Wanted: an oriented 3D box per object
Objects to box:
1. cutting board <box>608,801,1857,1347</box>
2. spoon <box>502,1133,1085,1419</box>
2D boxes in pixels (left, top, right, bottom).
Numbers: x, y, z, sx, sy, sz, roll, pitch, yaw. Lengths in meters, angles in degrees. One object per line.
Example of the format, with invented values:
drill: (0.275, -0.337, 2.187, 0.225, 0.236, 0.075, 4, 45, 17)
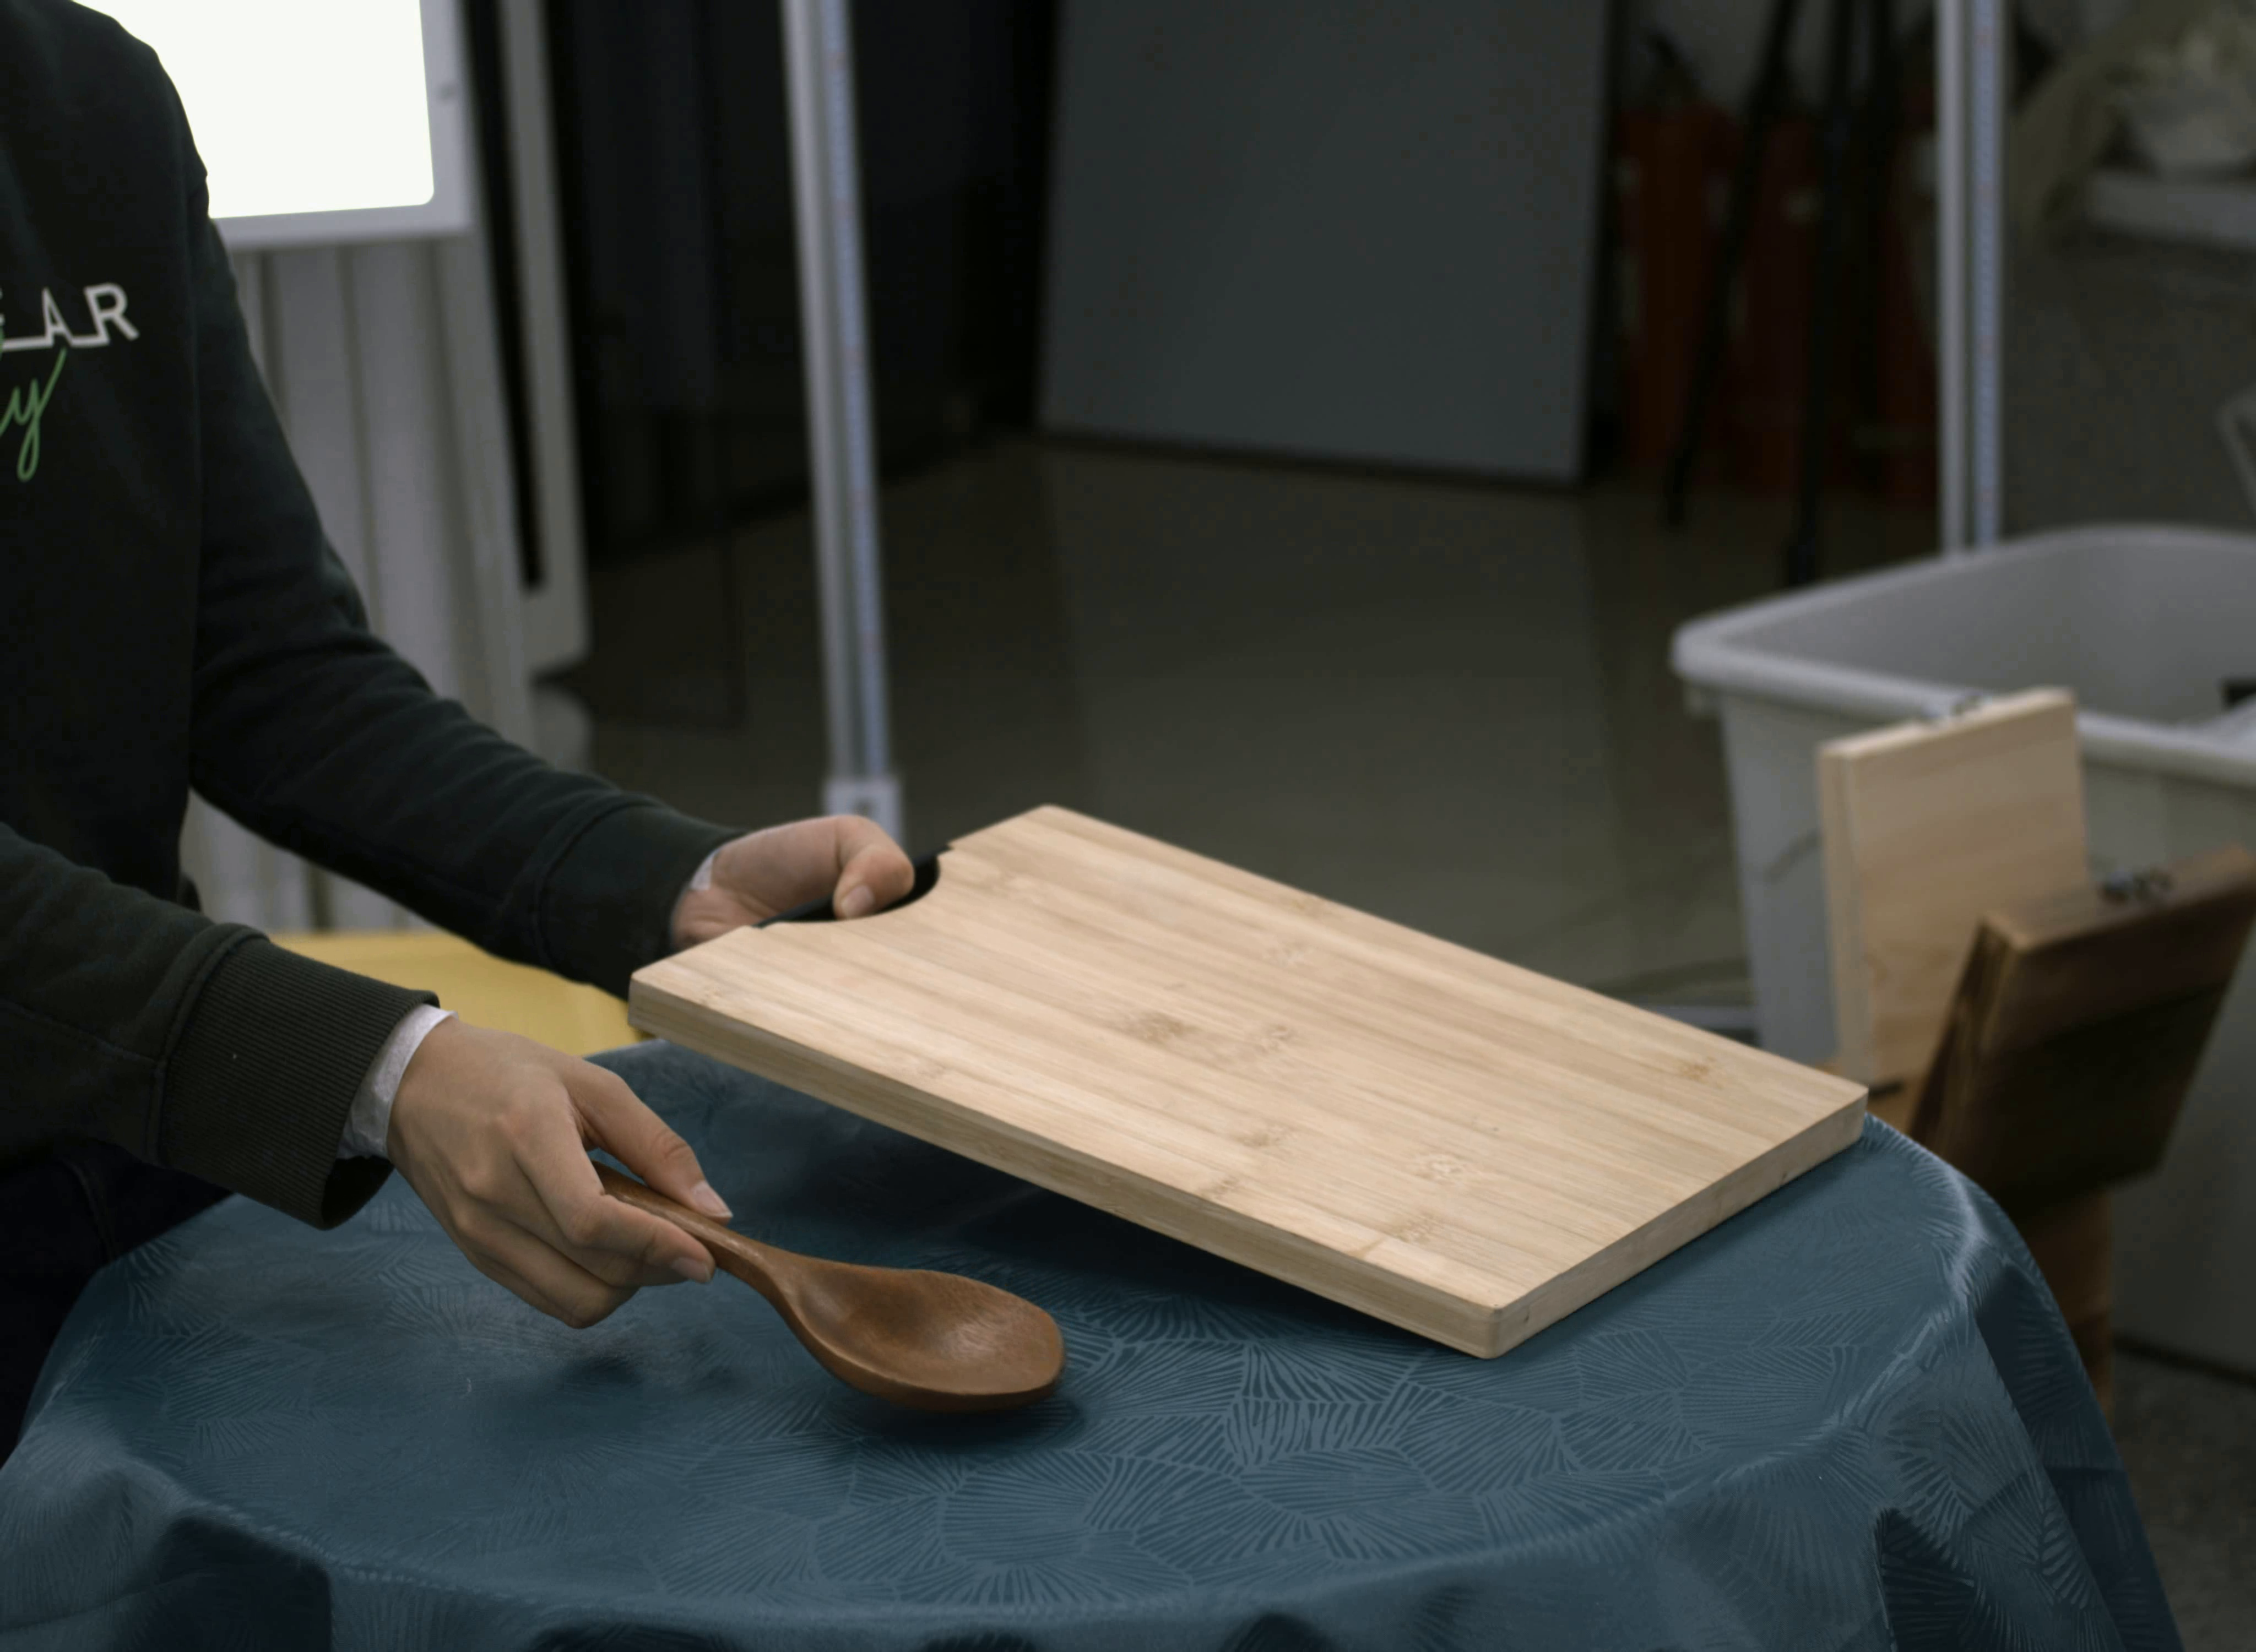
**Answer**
cutting board: (0.034, 0.074, 1.773, 0.351, 0.024, 0.246, 18, 24, 31)
spoon: (-0.105, 0.134, 1.617, 0.217, 0.017, 0.074, 21, 28, 33)
